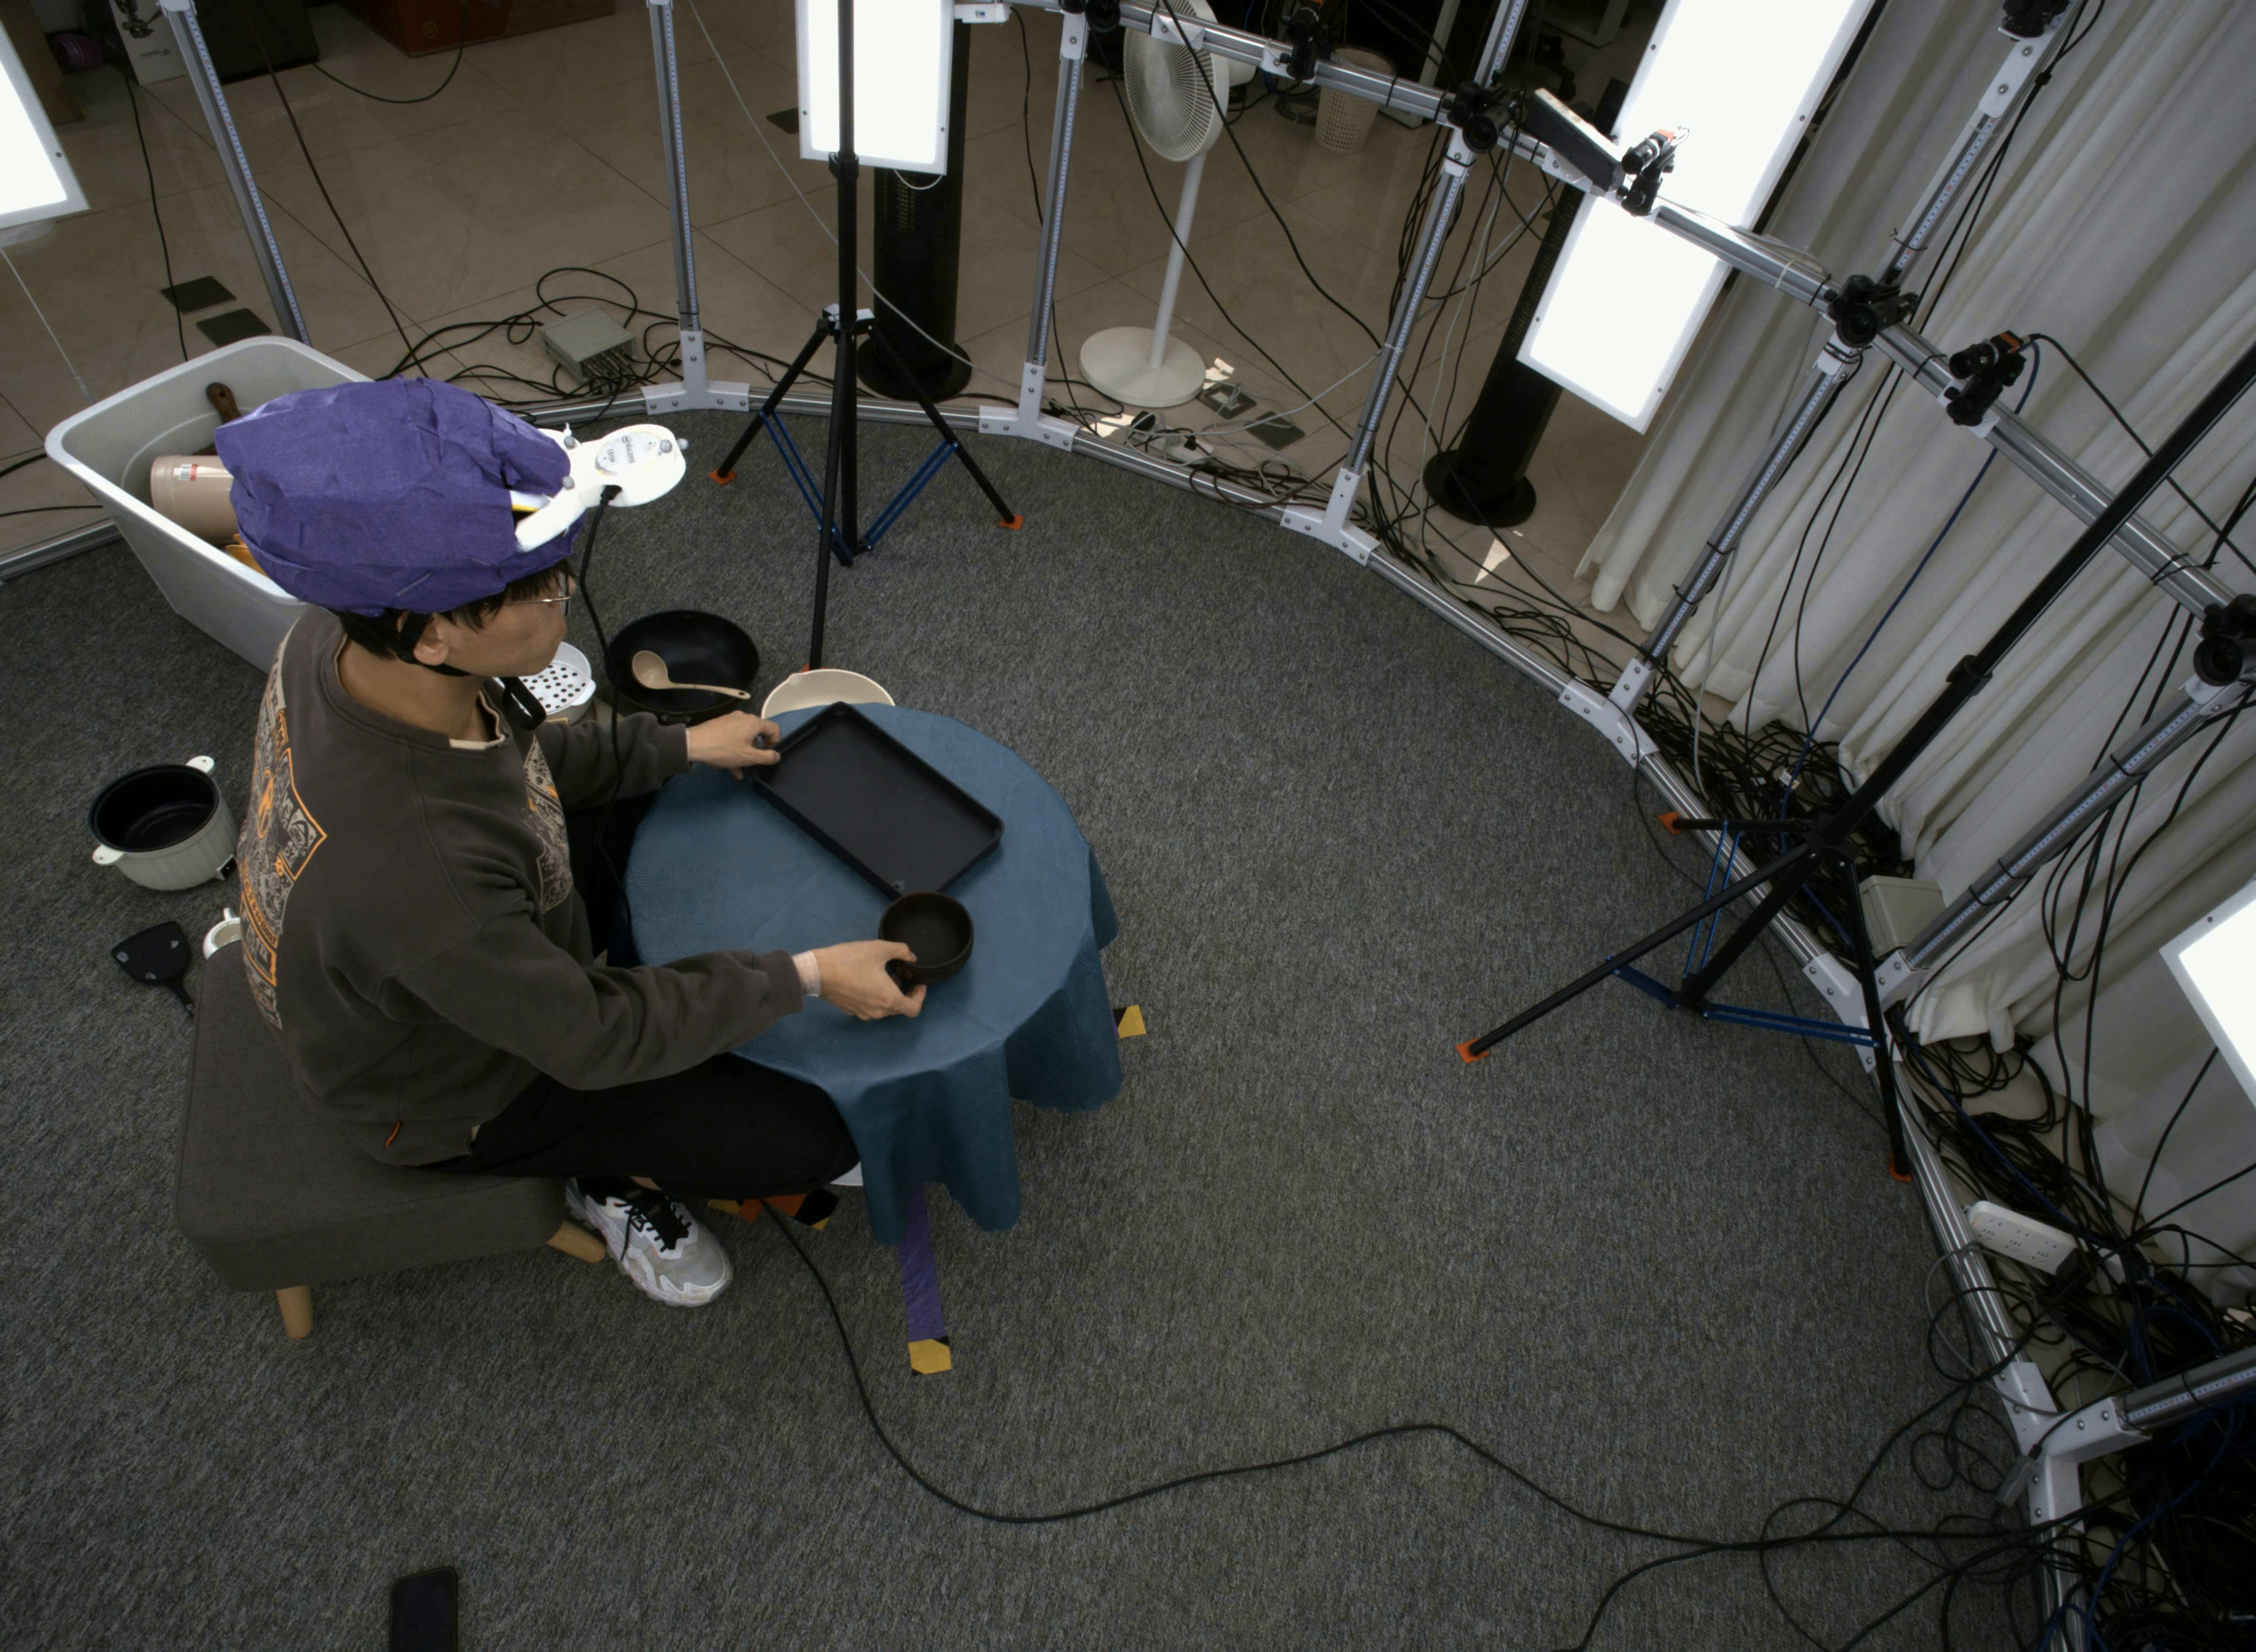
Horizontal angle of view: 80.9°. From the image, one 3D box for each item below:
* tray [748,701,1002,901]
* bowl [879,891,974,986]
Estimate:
[{"bbox_3d":[-0.341,-0.032,1.757,0.312,0.038,0.184,35,55,11],"label":"tray"},{"bbox_3d":[-0.251,0.146,1.627,0.117,0.071,0.116,6,52,-6],"label":"bowl"}]
